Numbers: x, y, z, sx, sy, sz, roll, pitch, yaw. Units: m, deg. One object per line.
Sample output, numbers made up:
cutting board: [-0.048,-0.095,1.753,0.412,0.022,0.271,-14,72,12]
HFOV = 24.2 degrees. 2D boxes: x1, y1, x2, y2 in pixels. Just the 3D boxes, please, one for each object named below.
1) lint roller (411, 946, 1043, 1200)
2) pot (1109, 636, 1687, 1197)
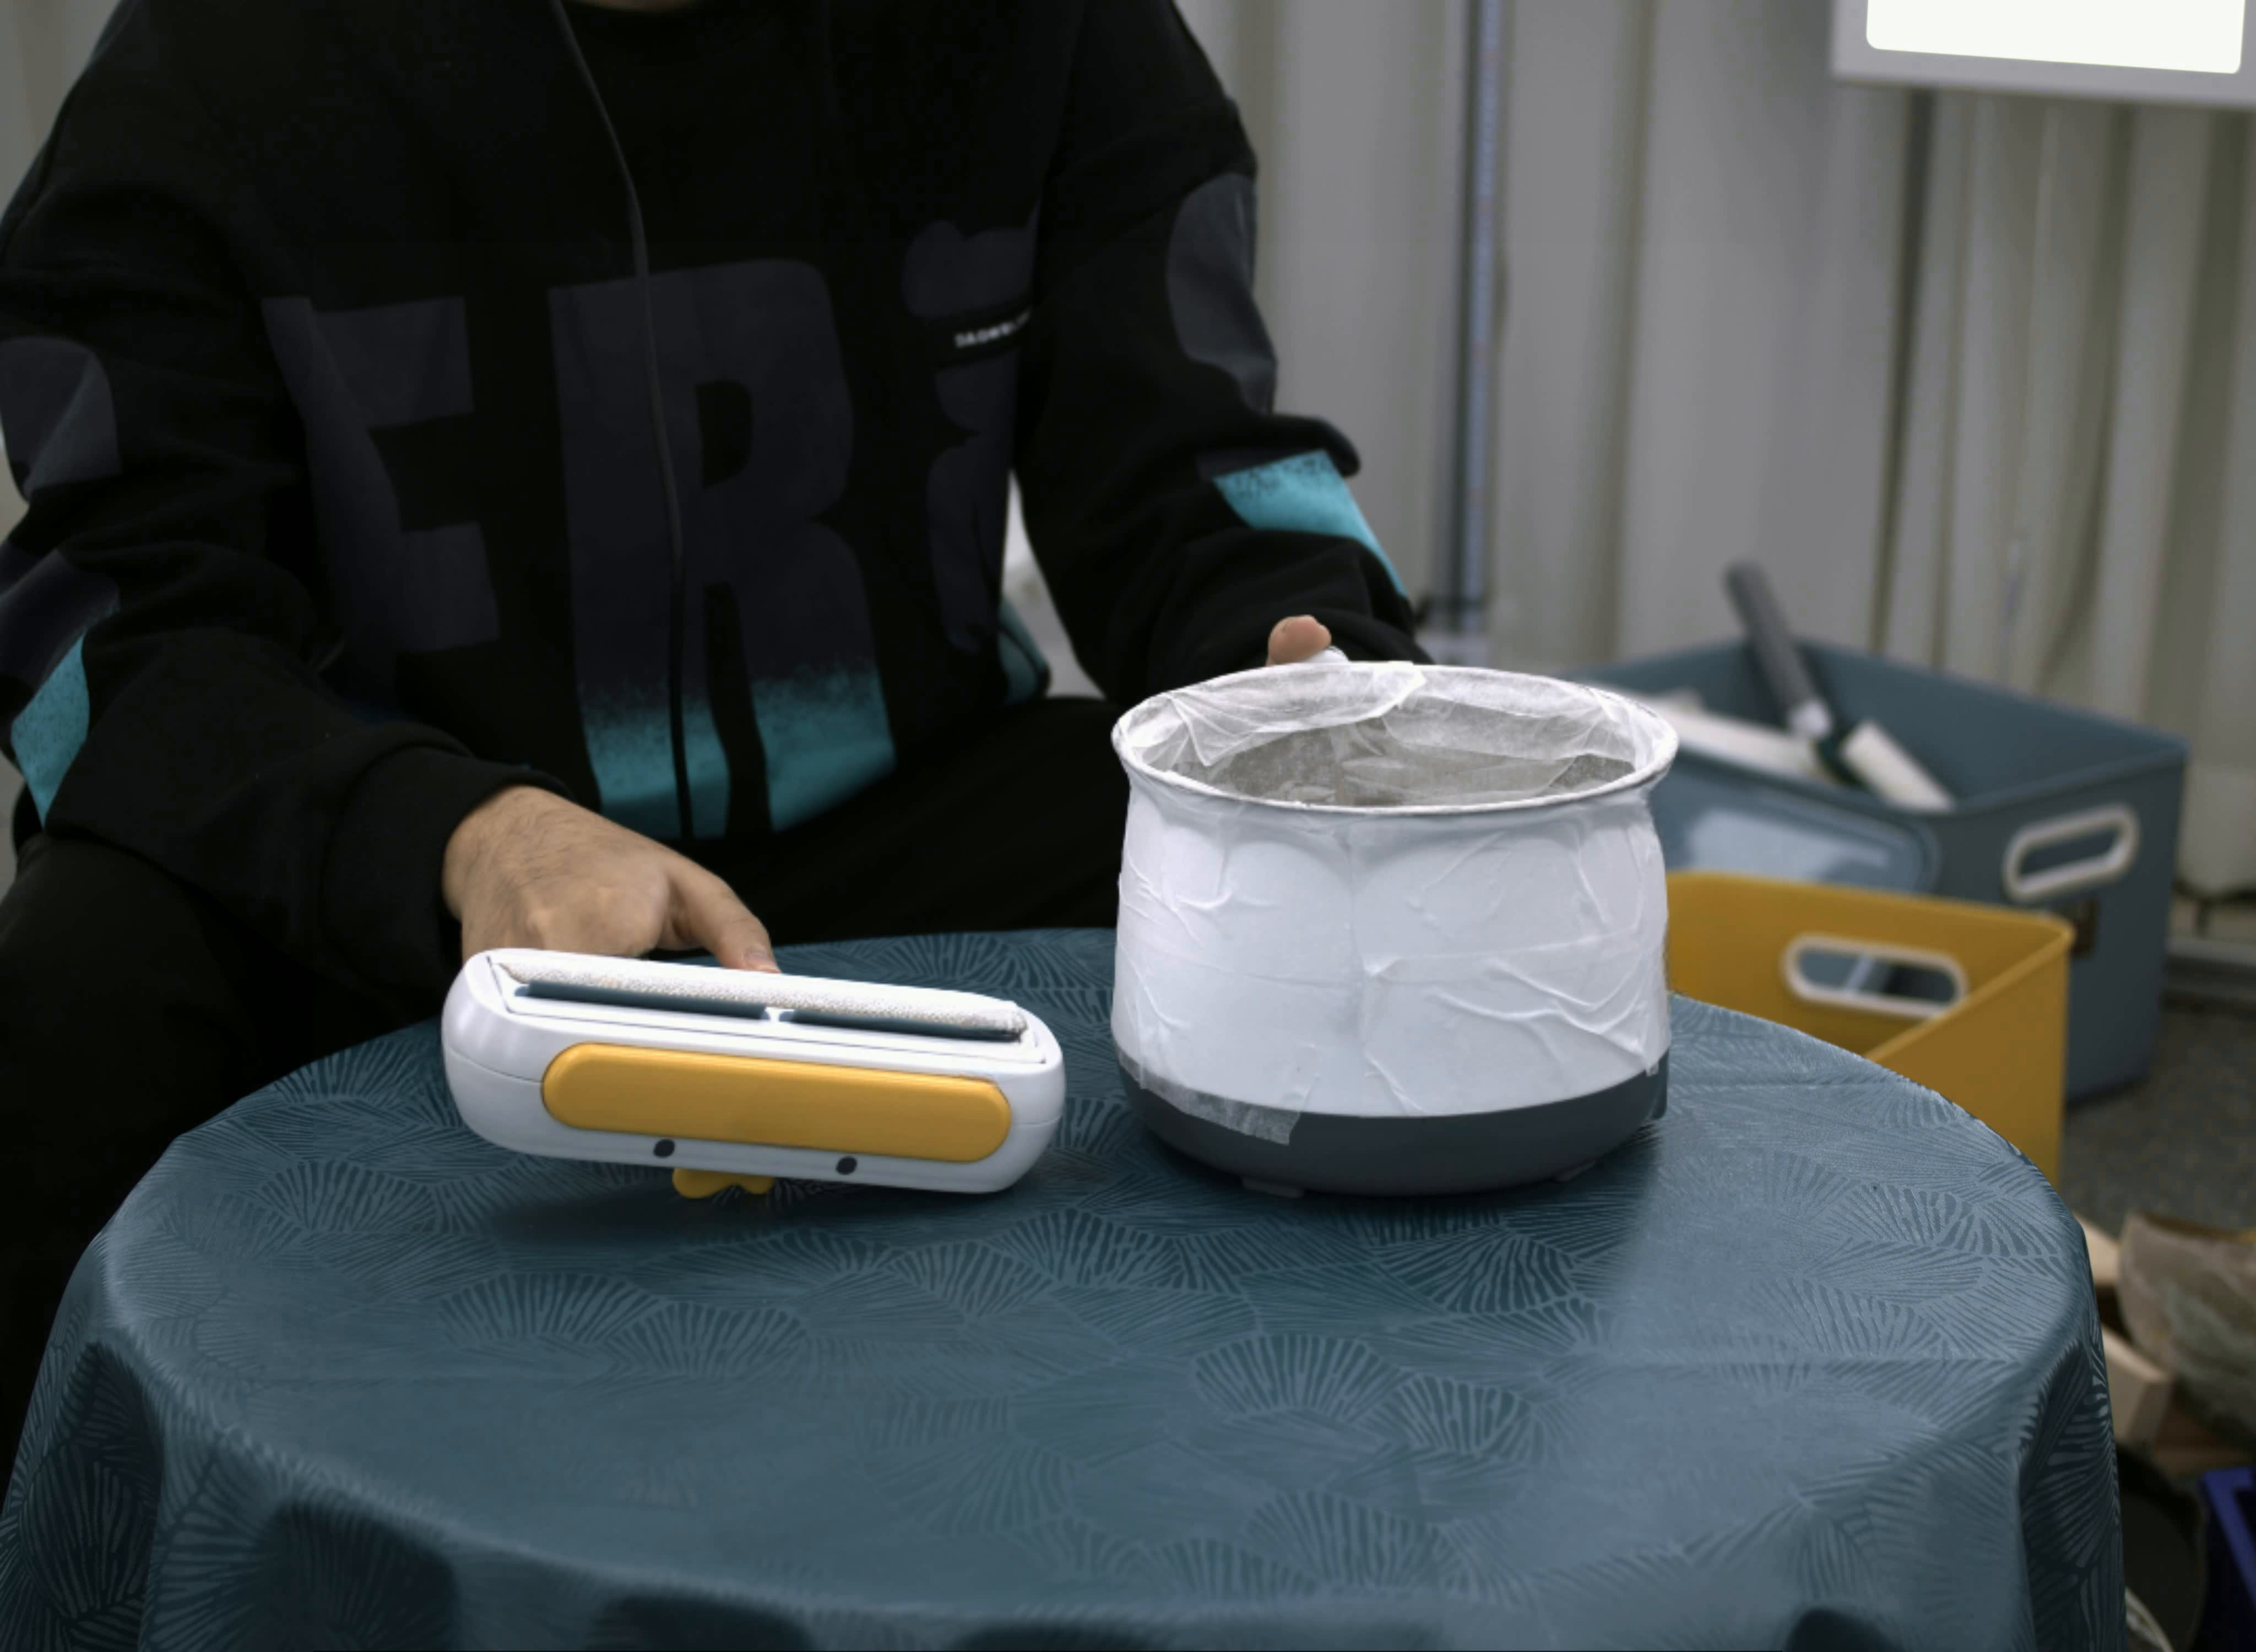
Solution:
lint roller: [-0.135,0.067,1.651,0.193,0.074,0.190,3,13,-15]
pot: [0.077,0.024,1.678,0.179,0.138,0.231,-1,17,-12]
